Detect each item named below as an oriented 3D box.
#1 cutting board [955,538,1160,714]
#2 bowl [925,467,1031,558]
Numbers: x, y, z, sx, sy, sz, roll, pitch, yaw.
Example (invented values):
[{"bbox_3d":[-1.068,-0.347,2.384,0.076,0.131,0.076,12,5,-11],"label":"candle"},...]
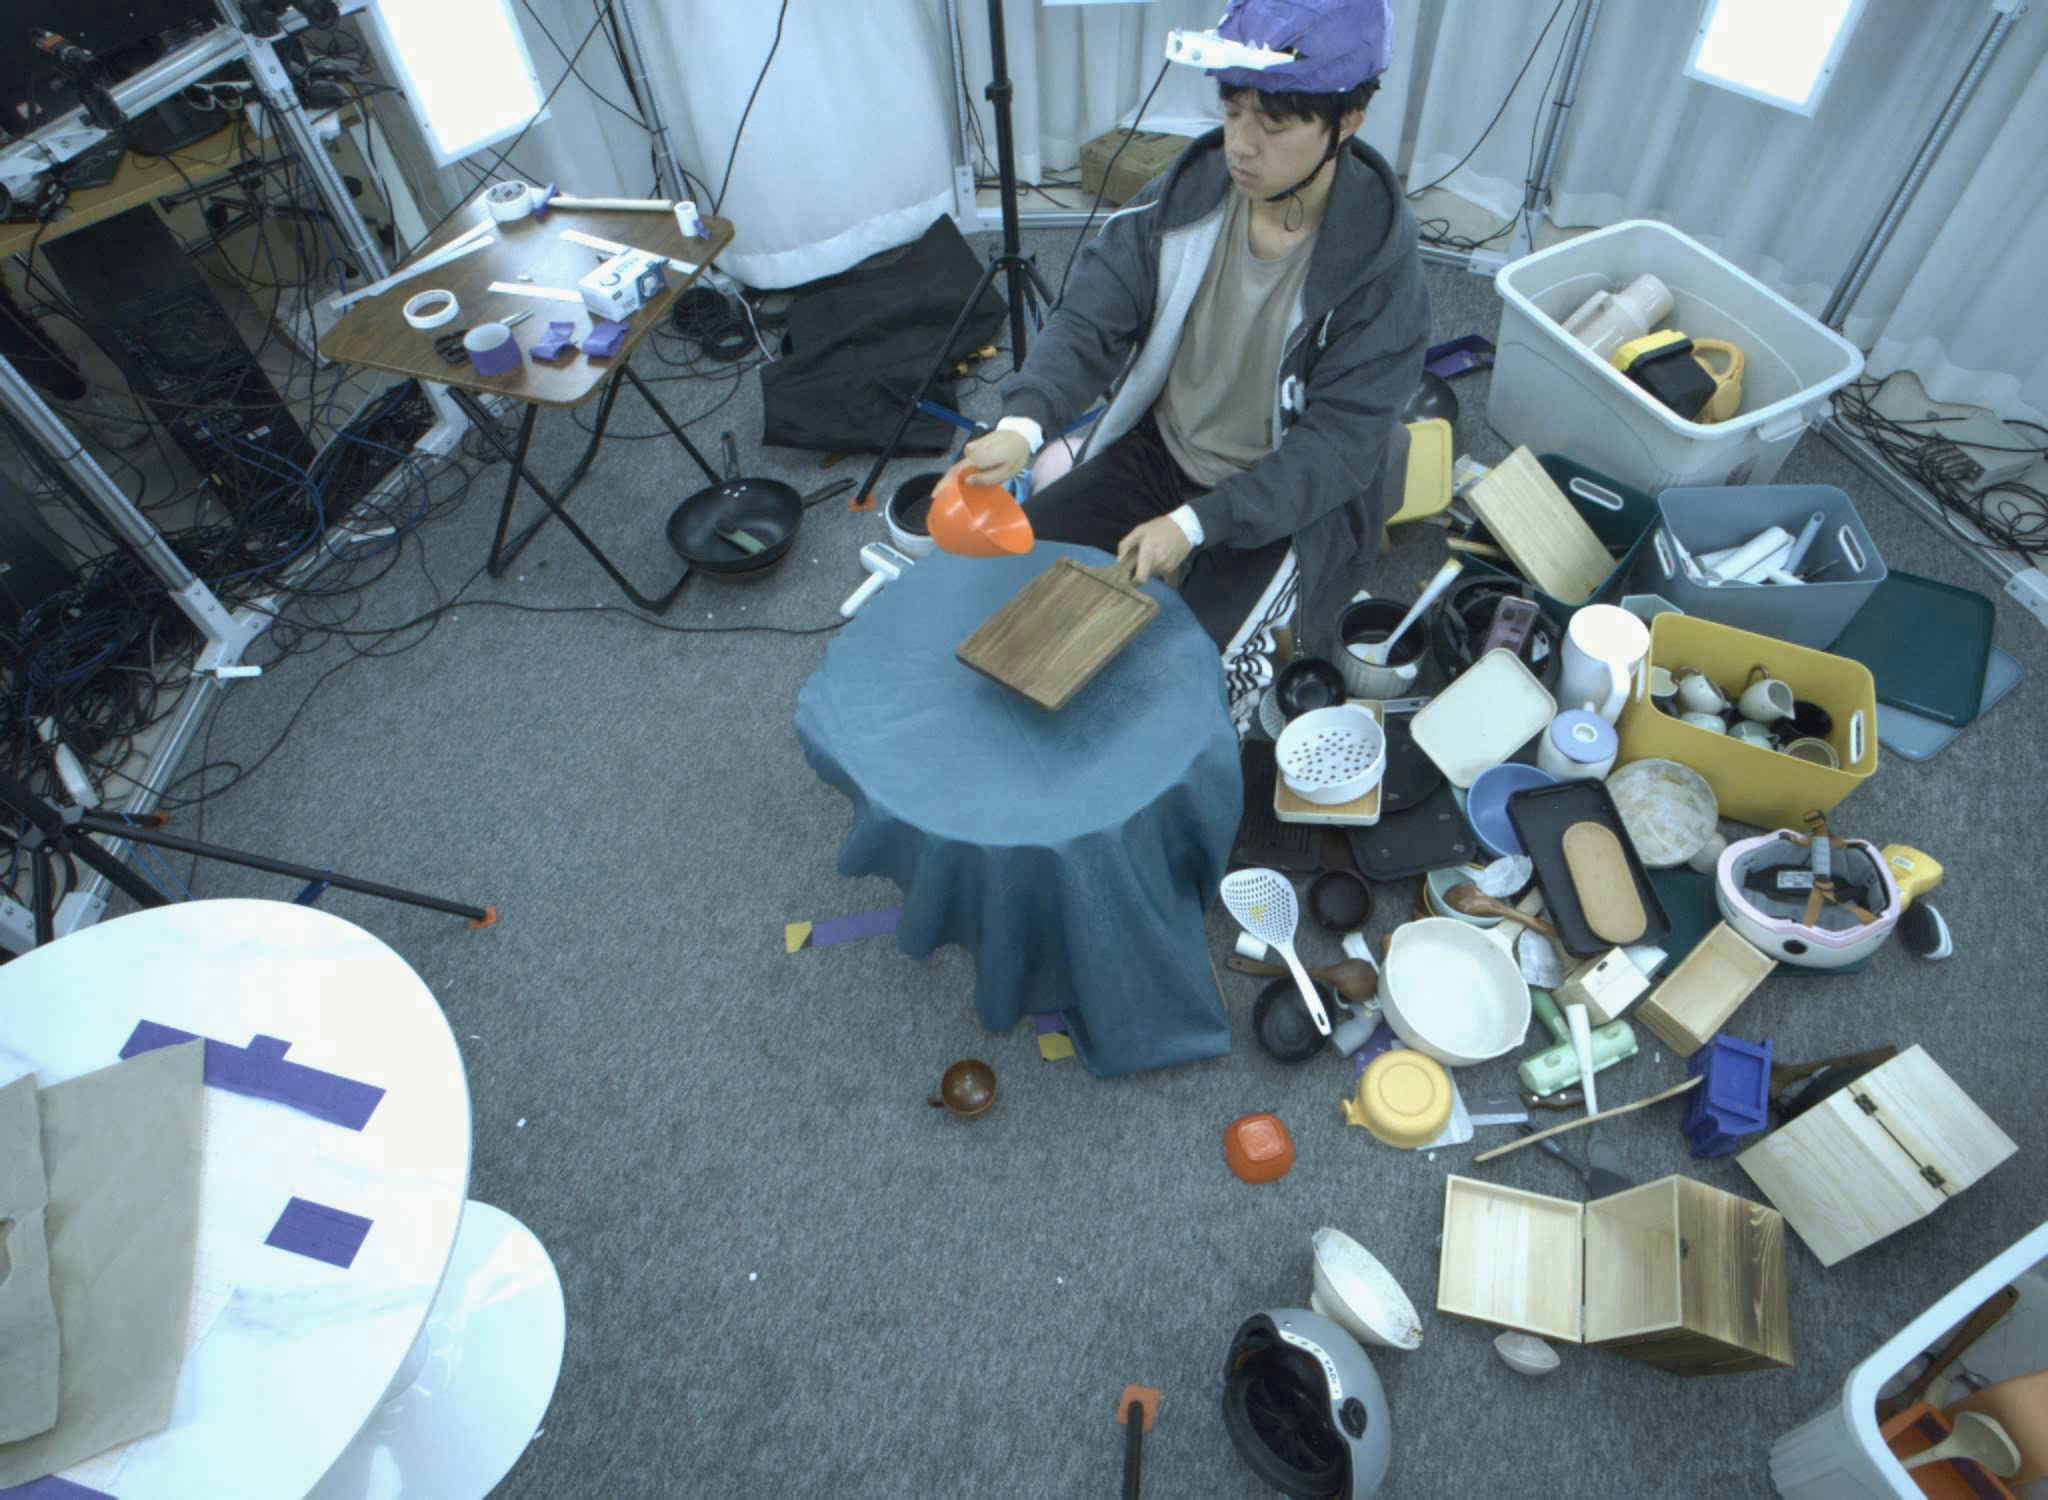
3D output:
[{"bbox_3d":[0.082,-0.207,1.826,0.197,0.023,0.354,32,62,29],"label":"cutting board"},{"bbox_3d":[-0.074,-0.318,1.716,0.103,0.151,0.146,-23,50,27],"label":"bowl"}]
